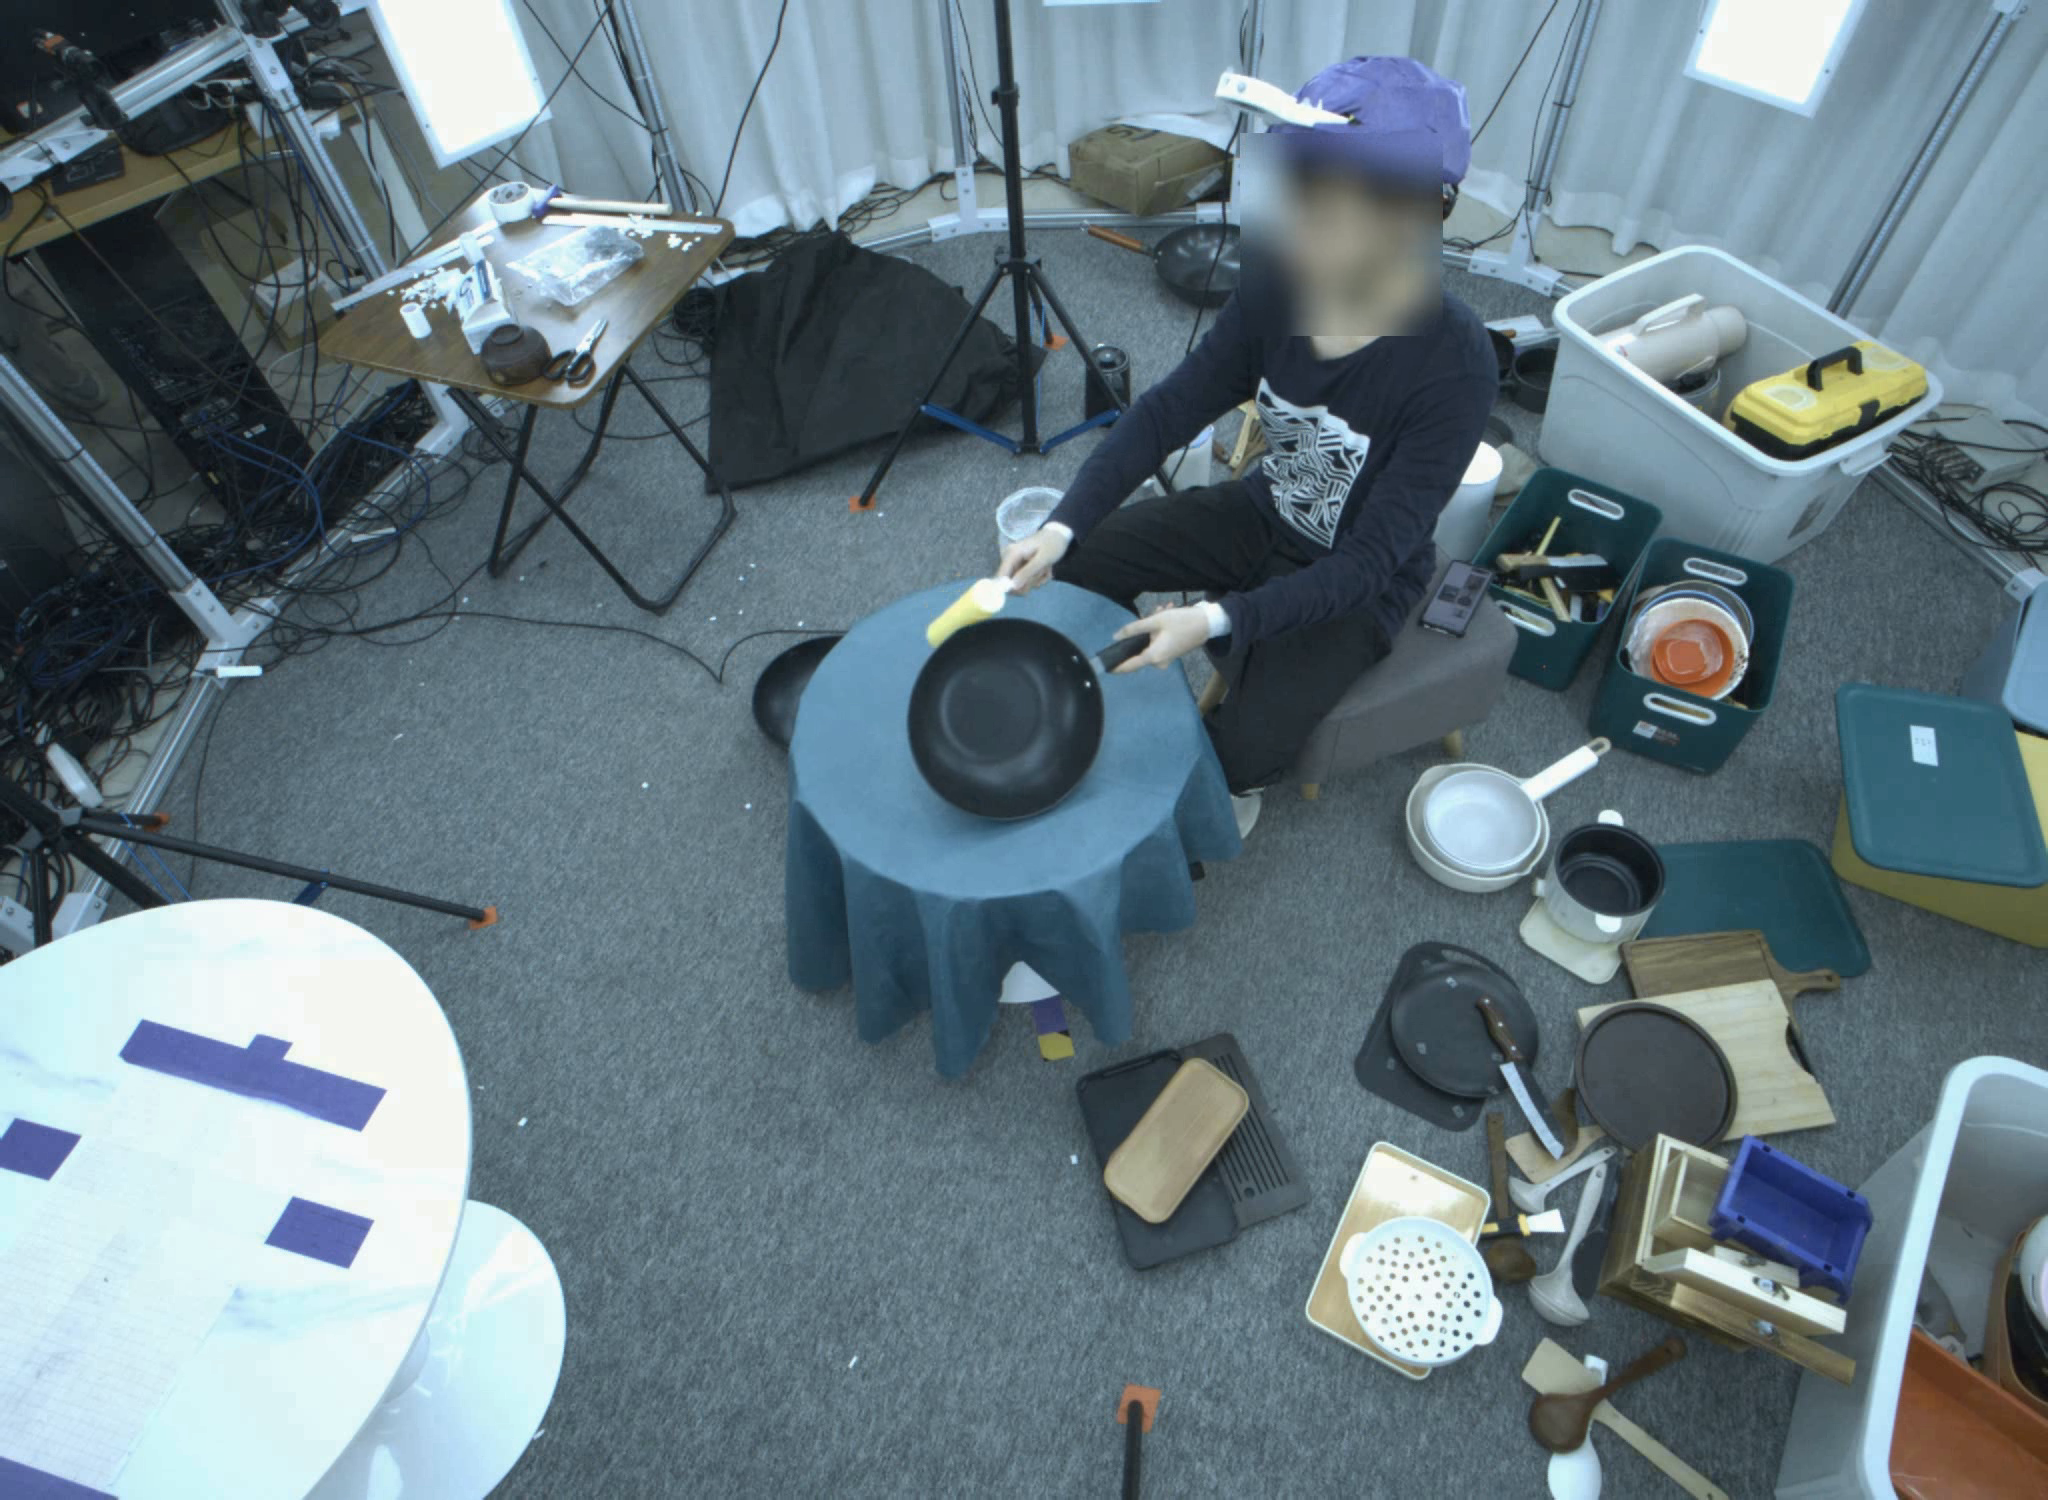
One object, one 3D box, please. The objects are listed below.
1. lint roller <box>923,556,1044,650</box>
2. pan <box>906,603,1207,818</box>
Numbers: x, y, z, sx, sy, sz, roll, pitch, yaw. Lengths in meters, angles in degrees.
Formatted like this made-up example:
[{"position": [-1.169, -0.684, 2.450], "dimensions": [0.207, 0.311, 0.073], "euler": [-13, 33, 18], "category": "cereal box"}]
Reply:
[{"position": [-0.043, -0.228, 1.720], "dimensions": [0.052, 0.172, 0.193], "euler": [47, 58, -11], "category": "lint roller"}, {"position": [0.044, -0.097, 1.722], "dimensions": [0.465, 0.292, 0.085], "euler": [-31, 21, -10], "category": "pan"}]
